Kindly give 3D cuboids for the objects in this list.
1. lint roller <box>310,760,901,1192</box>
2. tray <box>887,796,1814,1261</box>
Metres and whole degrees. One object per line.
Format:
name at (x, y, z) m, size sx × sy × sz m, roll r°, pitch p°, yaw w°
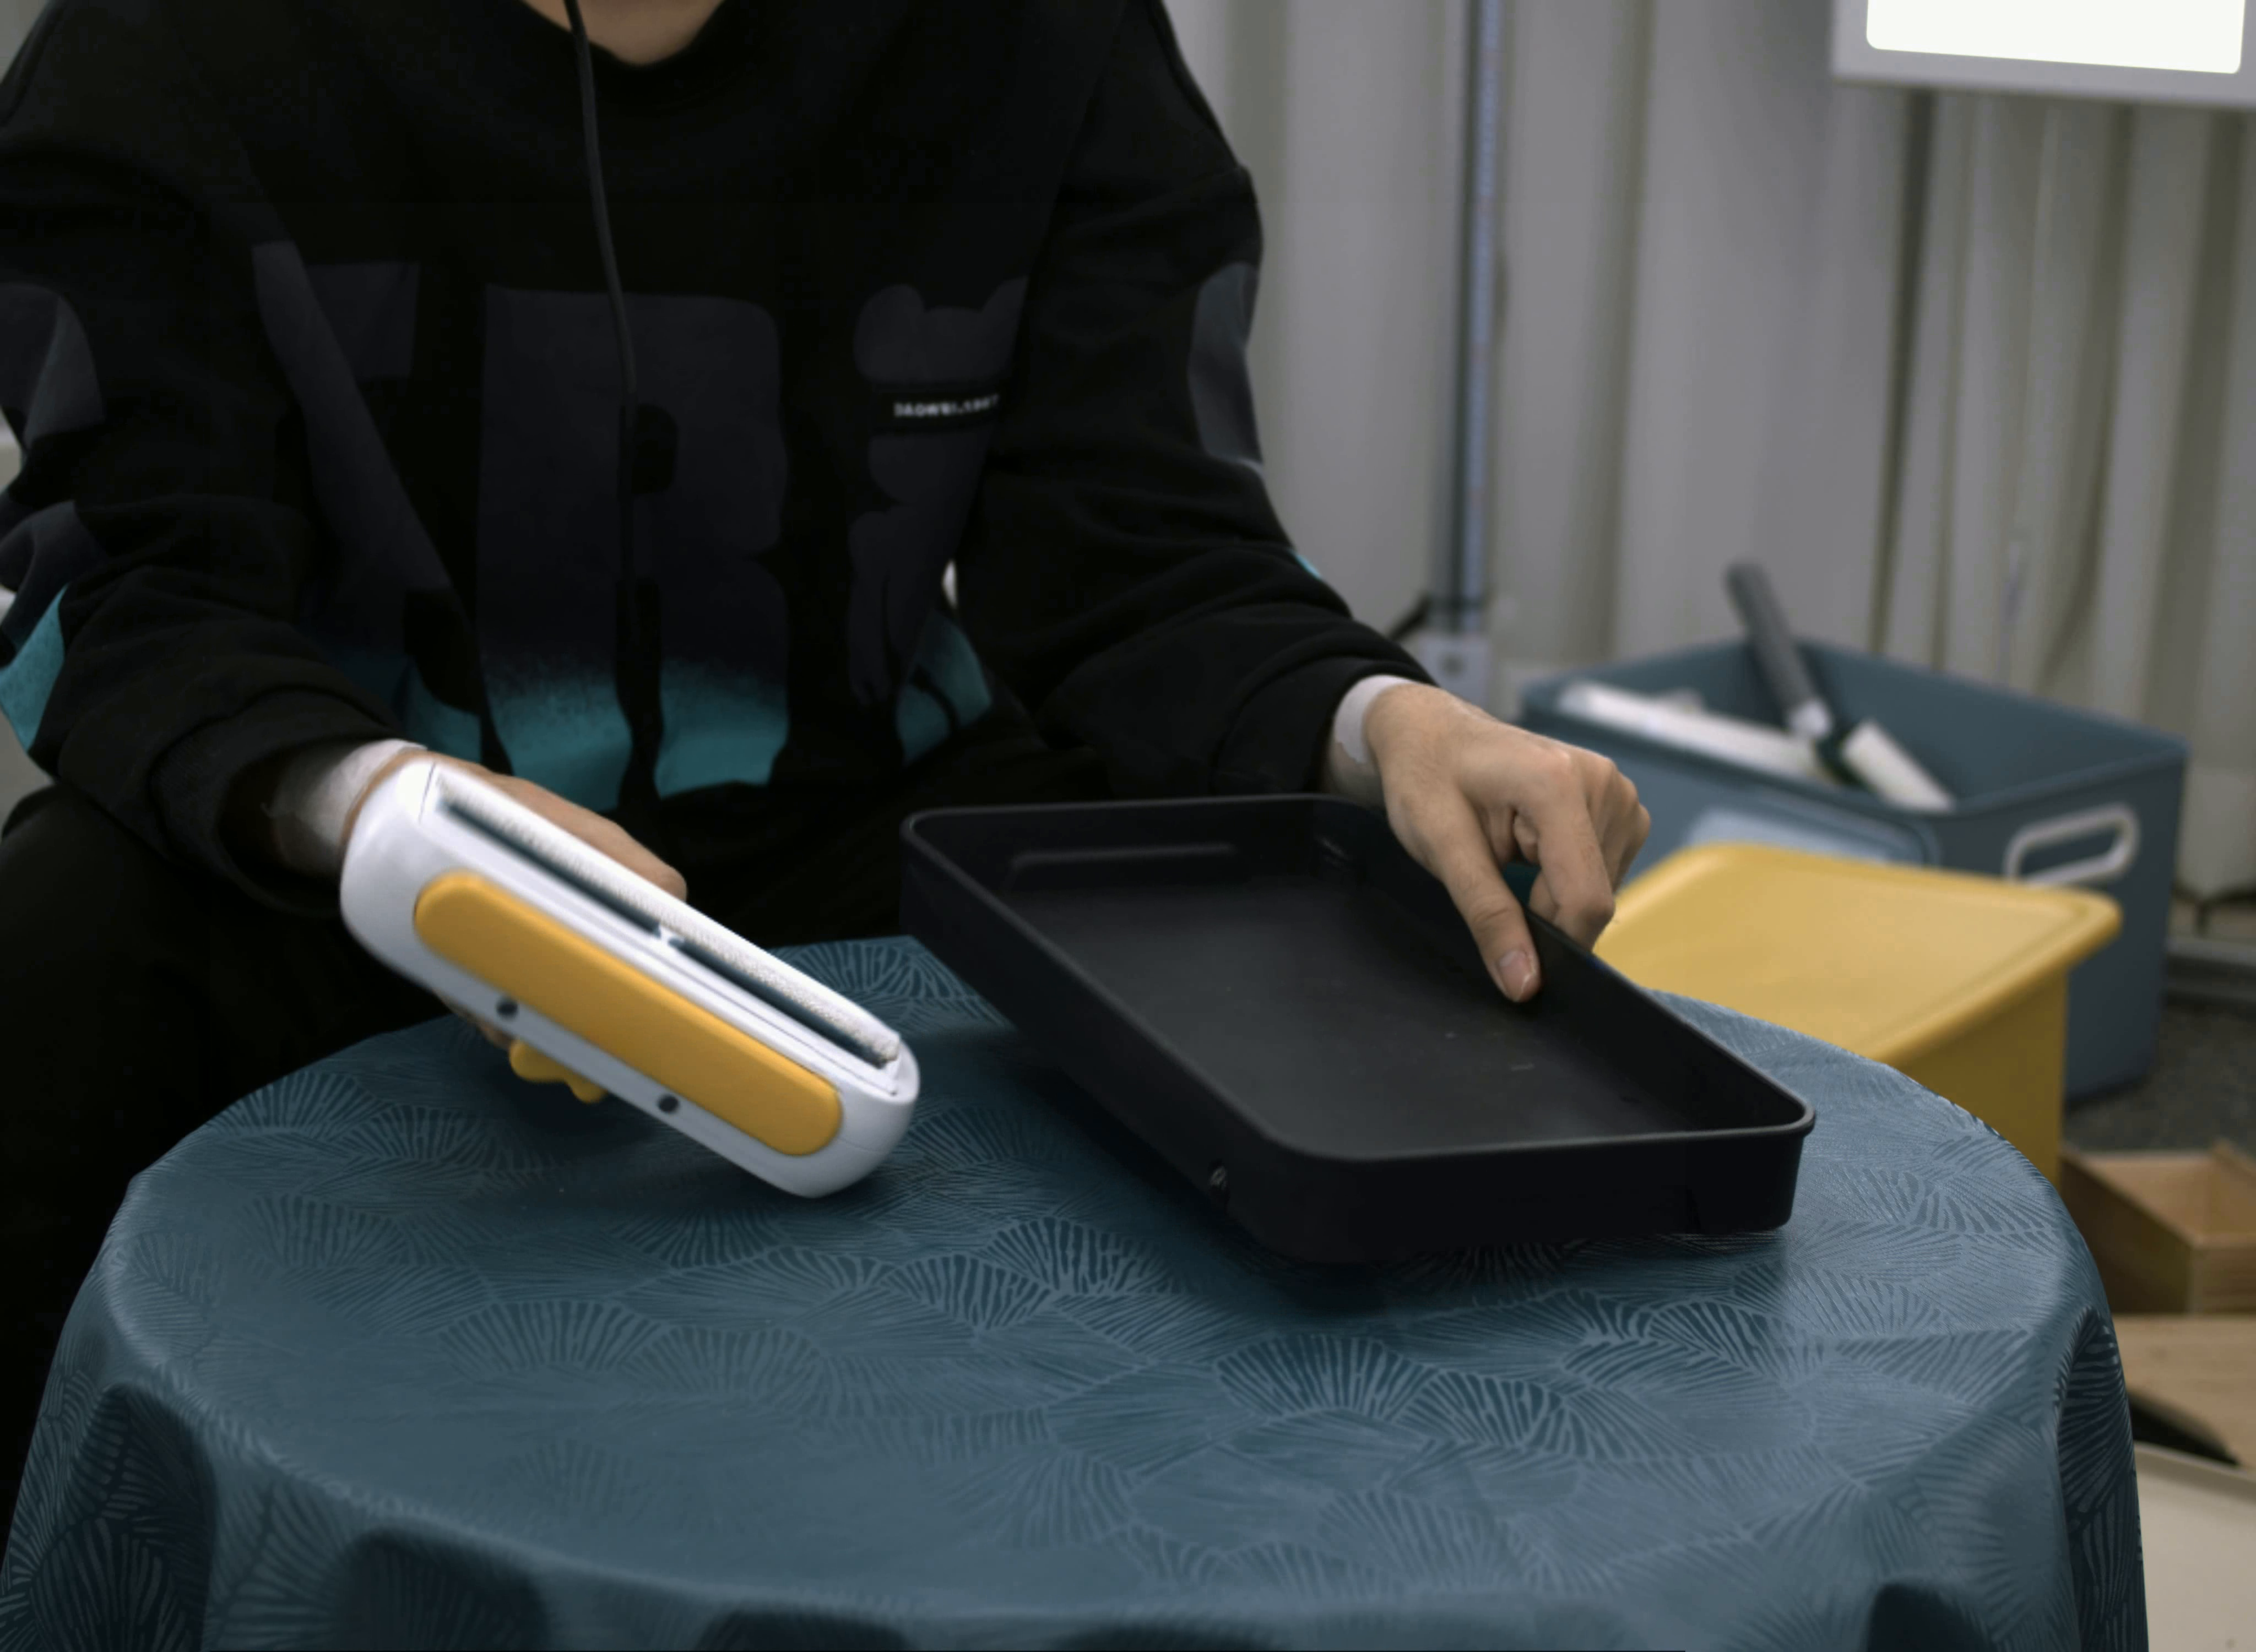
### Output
lint roller at (-0.165, 0.039, 1.653) m, size 0.193 × 0.074 × 0.191 m, roll 26°, pitch 11°, yaw -10°
tray at (0.062, 0.058, 1.668) m, size 0.185 × 0.037 × 0.314 m, roll -2°, pitch 20°, yaw -27°
